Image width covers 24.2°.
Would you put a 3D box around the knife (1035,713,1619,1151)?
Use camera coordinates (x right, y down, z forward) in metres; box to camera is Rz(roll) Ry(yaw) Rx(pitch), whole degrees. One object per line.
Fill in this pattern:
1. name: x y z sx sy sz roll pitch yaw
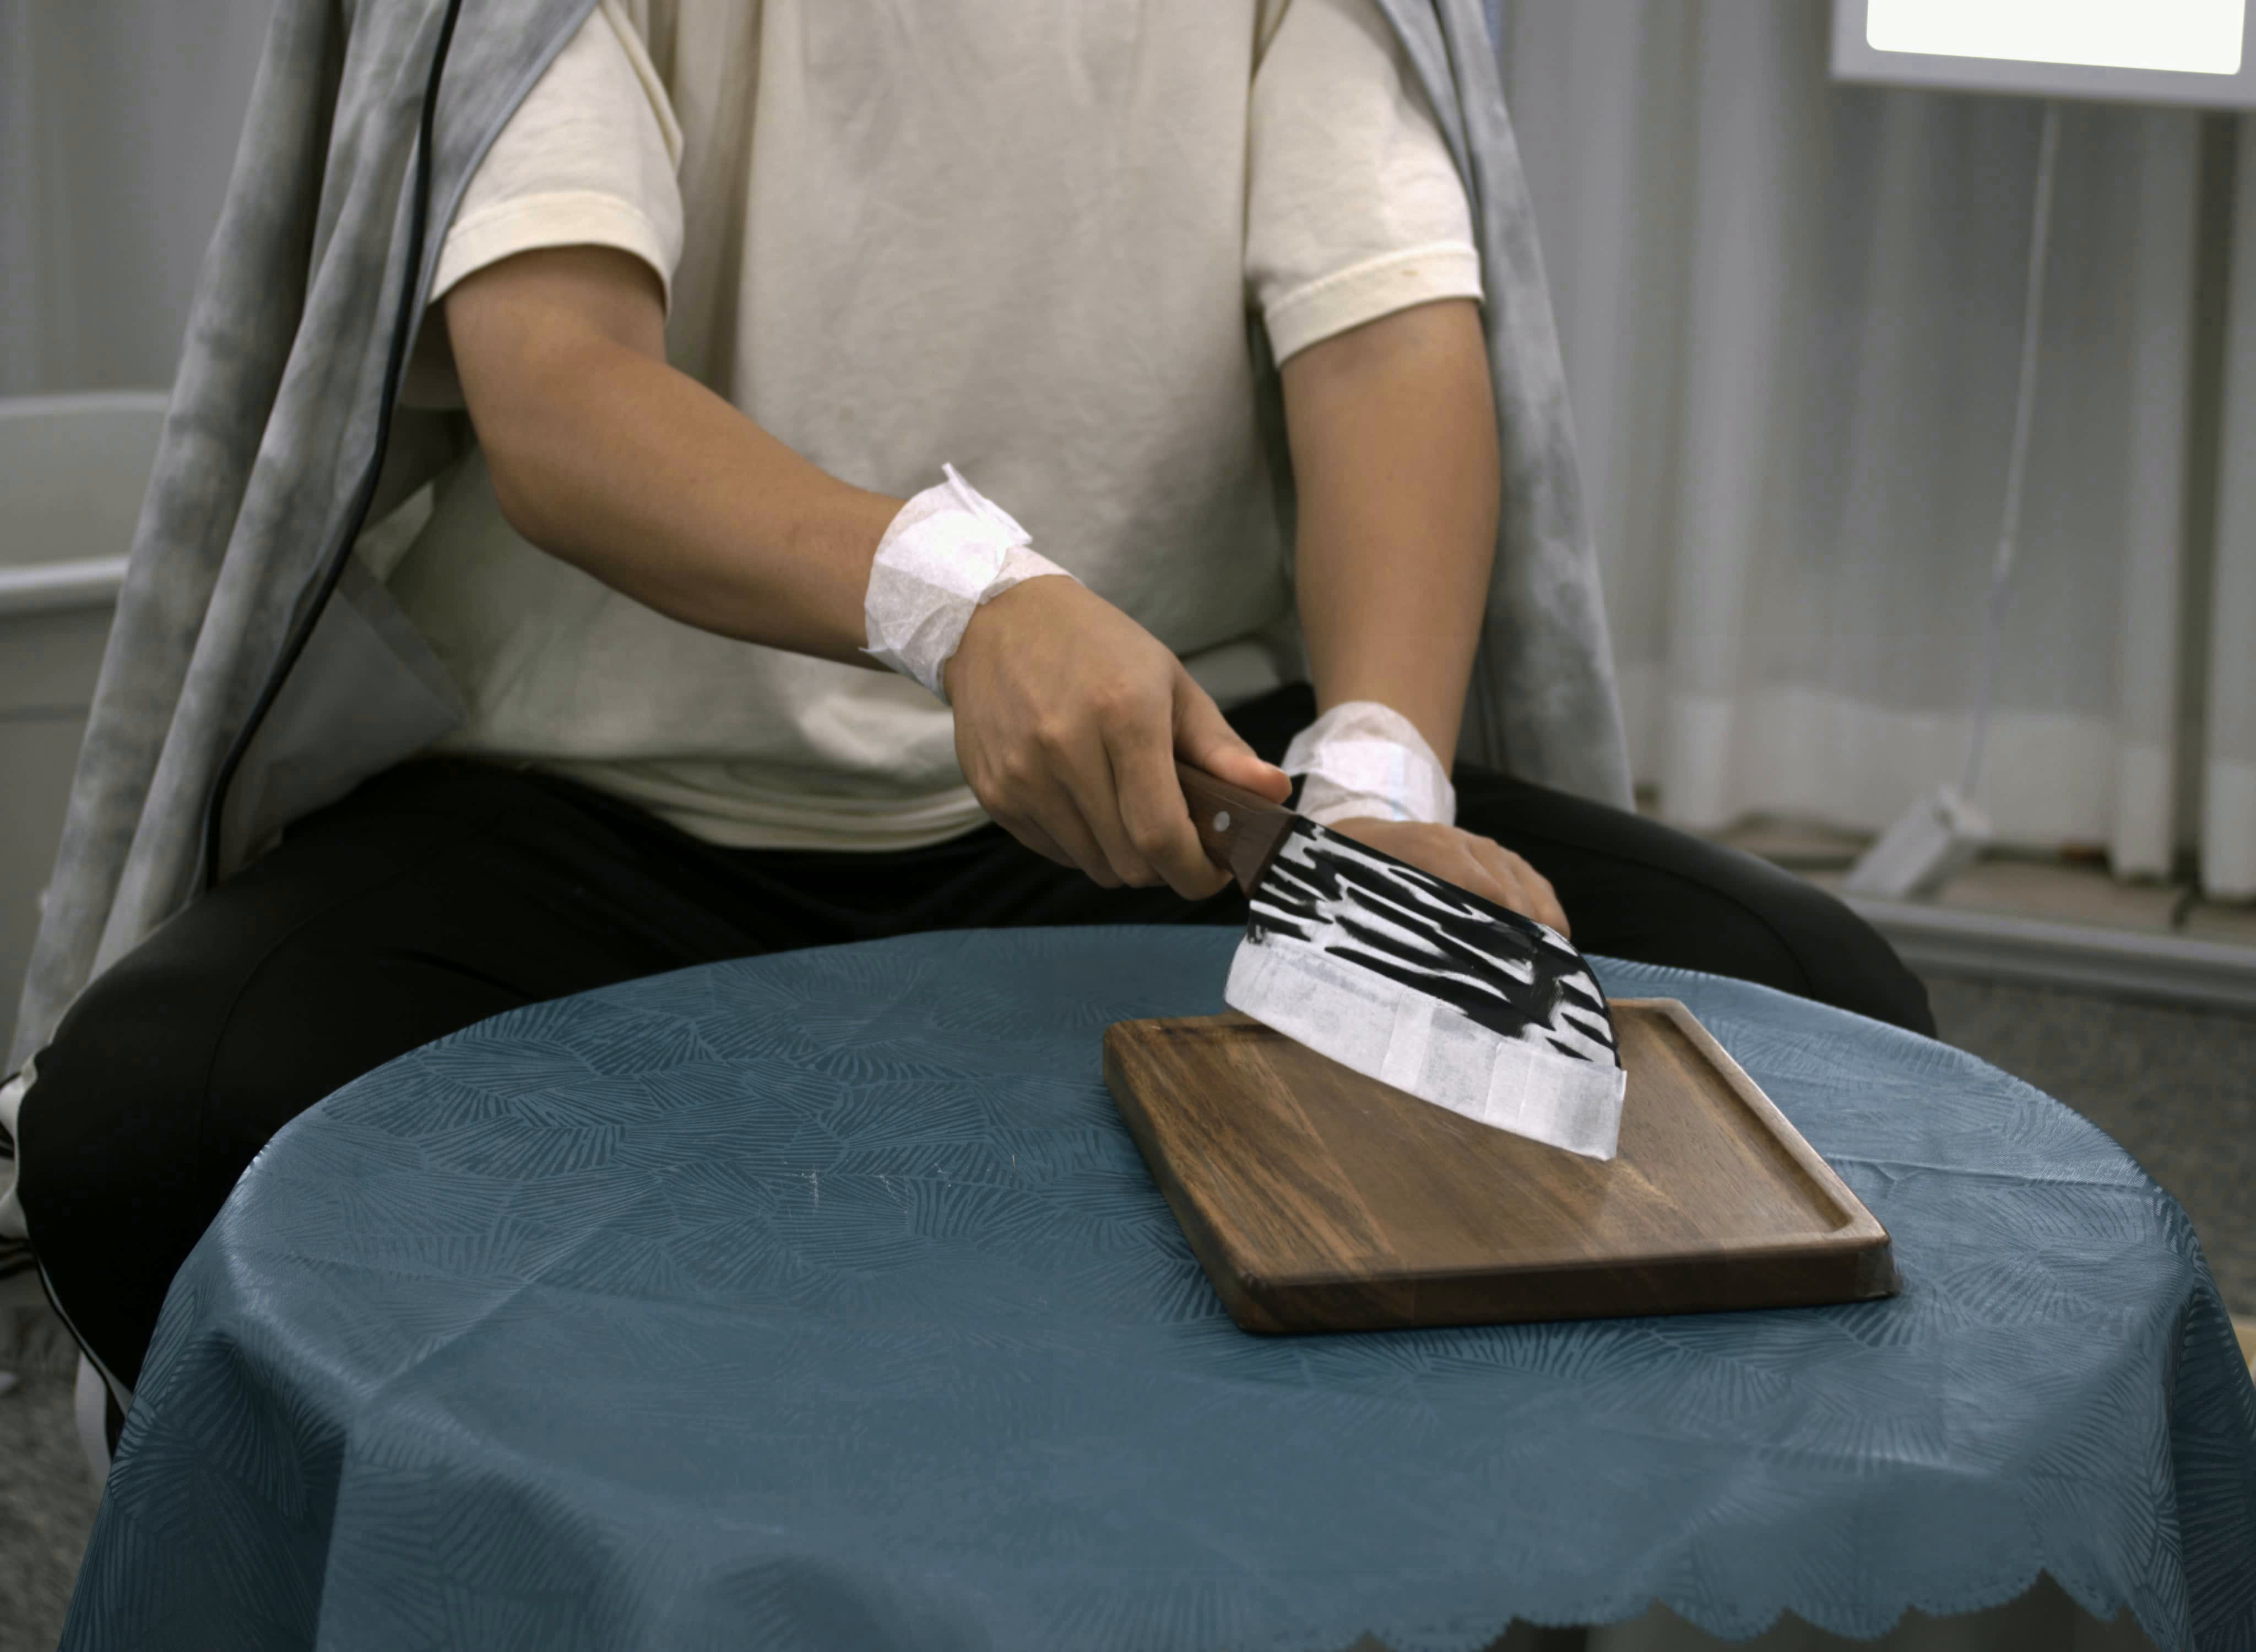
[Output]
1. knife: 0.060 0.032 1.708 0.024 0.068 0.295 20 5 -46

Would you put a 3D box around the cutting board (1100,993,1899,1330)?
1. cutting board: 0.100 0.087 1.682 0.201 0.023 0.349 -2 15 -10
